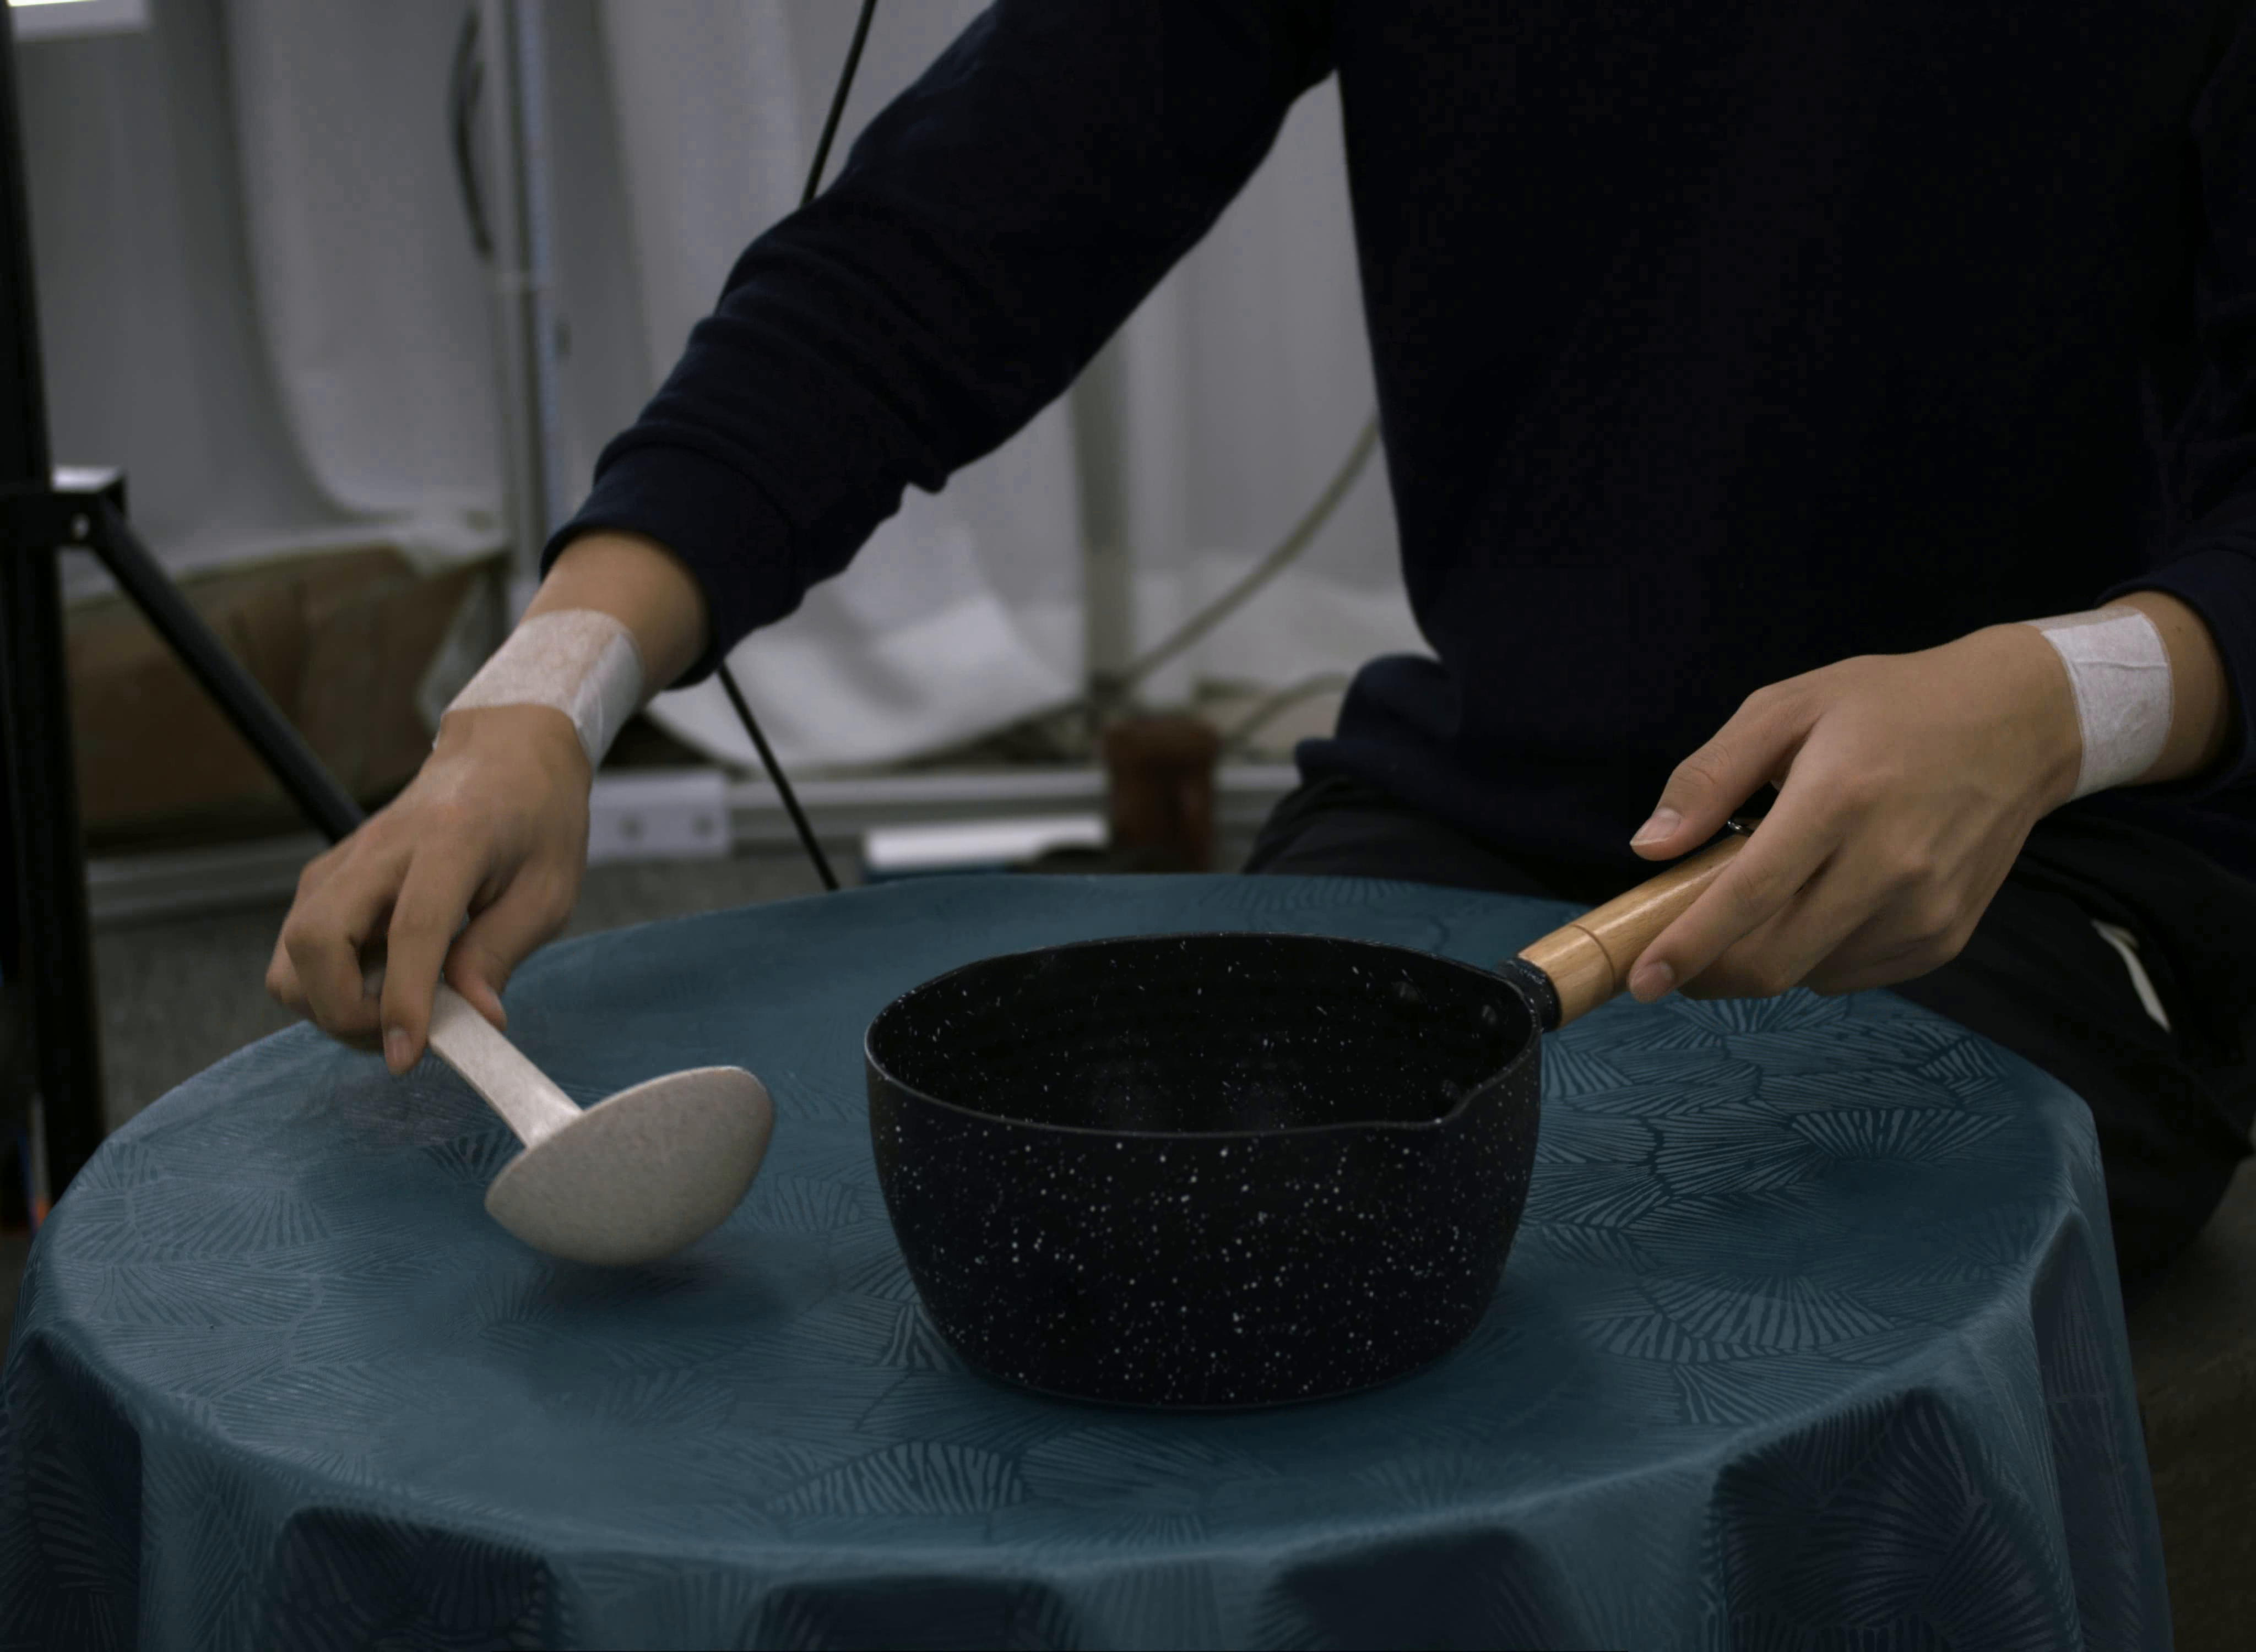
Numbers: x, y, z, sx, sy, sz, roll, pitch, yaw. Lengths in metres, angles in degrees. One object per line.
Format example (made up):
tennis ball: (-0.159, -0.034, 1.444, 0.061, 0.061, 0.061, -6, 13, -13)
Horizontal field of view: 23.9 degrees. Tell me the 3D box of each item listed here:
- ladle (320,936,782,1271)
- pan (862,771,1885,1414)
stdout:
ladle: (-0.190, 0.056, 1.589, 0.088, 0.069, 0.281, -20, 28, -22)
pan: (0.083, 0.069, 1.486, 0.335, 0.108, 0.212, -14, 19, -35)
